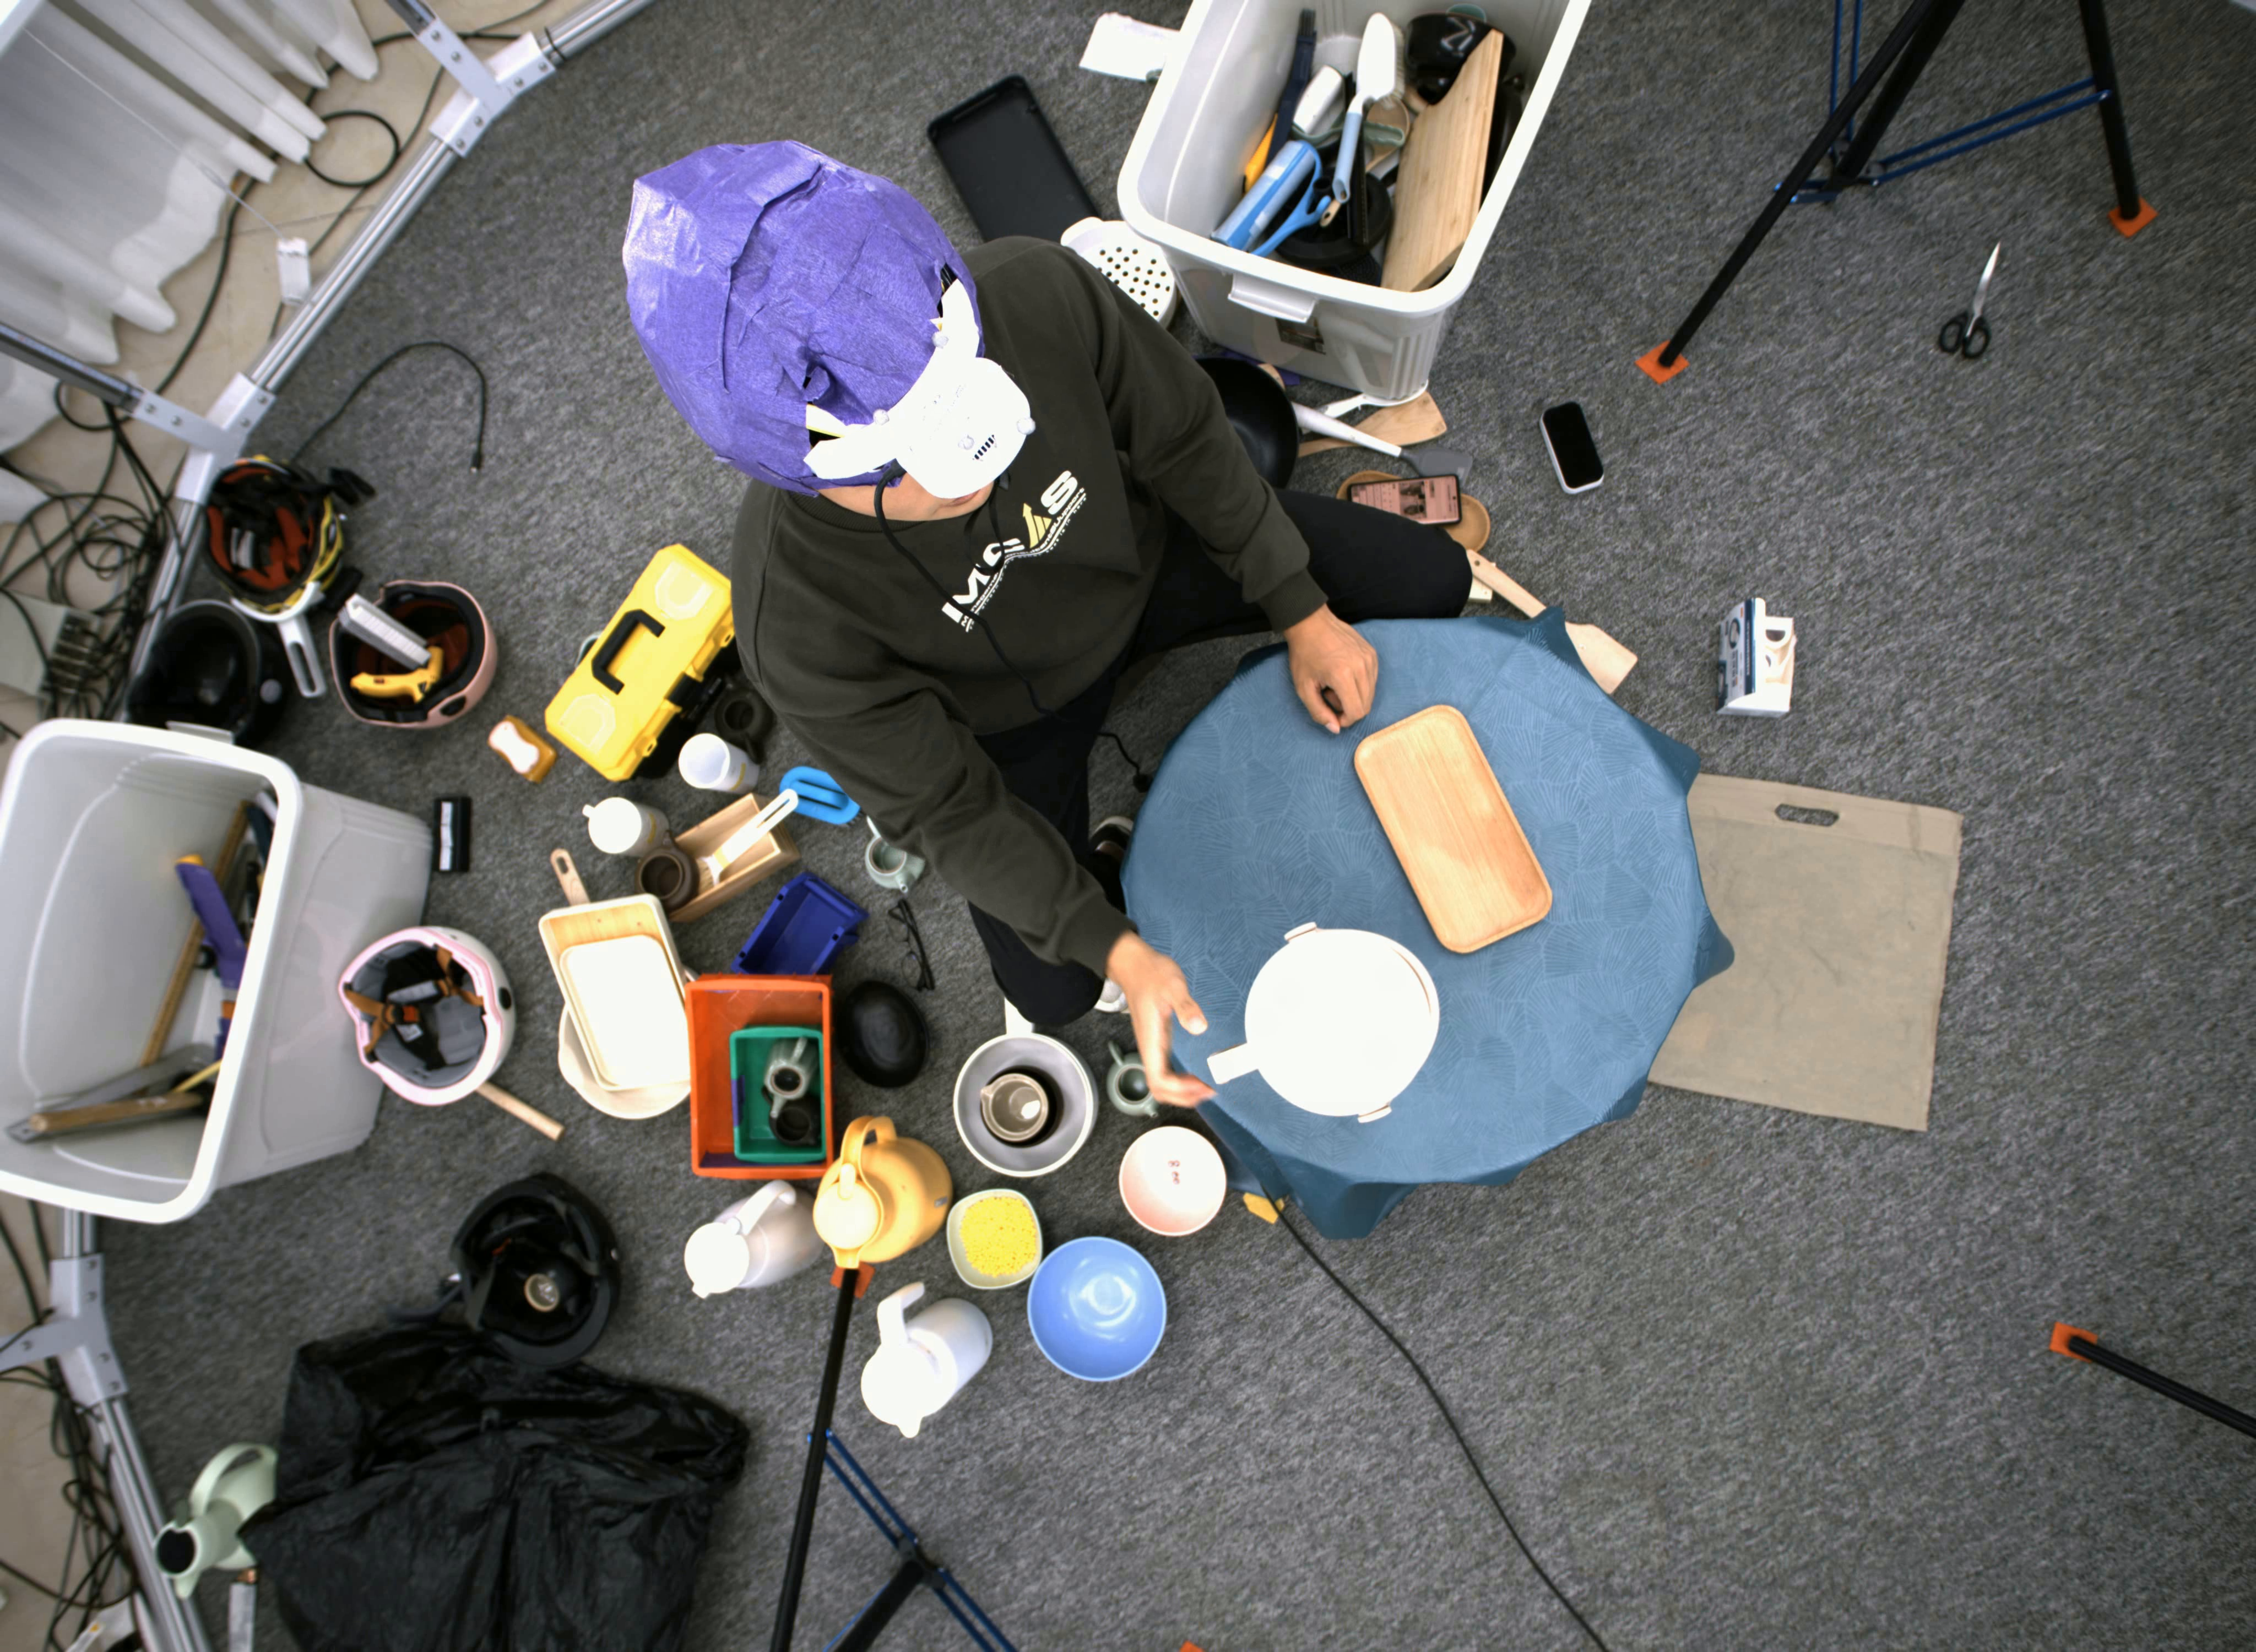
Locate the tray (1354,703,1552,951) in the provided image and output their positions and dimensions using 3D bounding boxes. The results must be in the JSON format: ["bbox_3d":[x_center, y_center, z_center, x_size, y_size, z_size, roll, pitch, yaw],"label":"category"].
[{"bbox_3d":[0.339,-0.001,1.443,0.131,0.023,0.249,-24,82,6],"label":"tray"}]

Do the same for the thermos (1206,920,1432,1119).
[{"bbox_3d":[0.178,0.178,1.269,0.208,0.407,0.174,-23,82,7],"label":"thermos"}]
